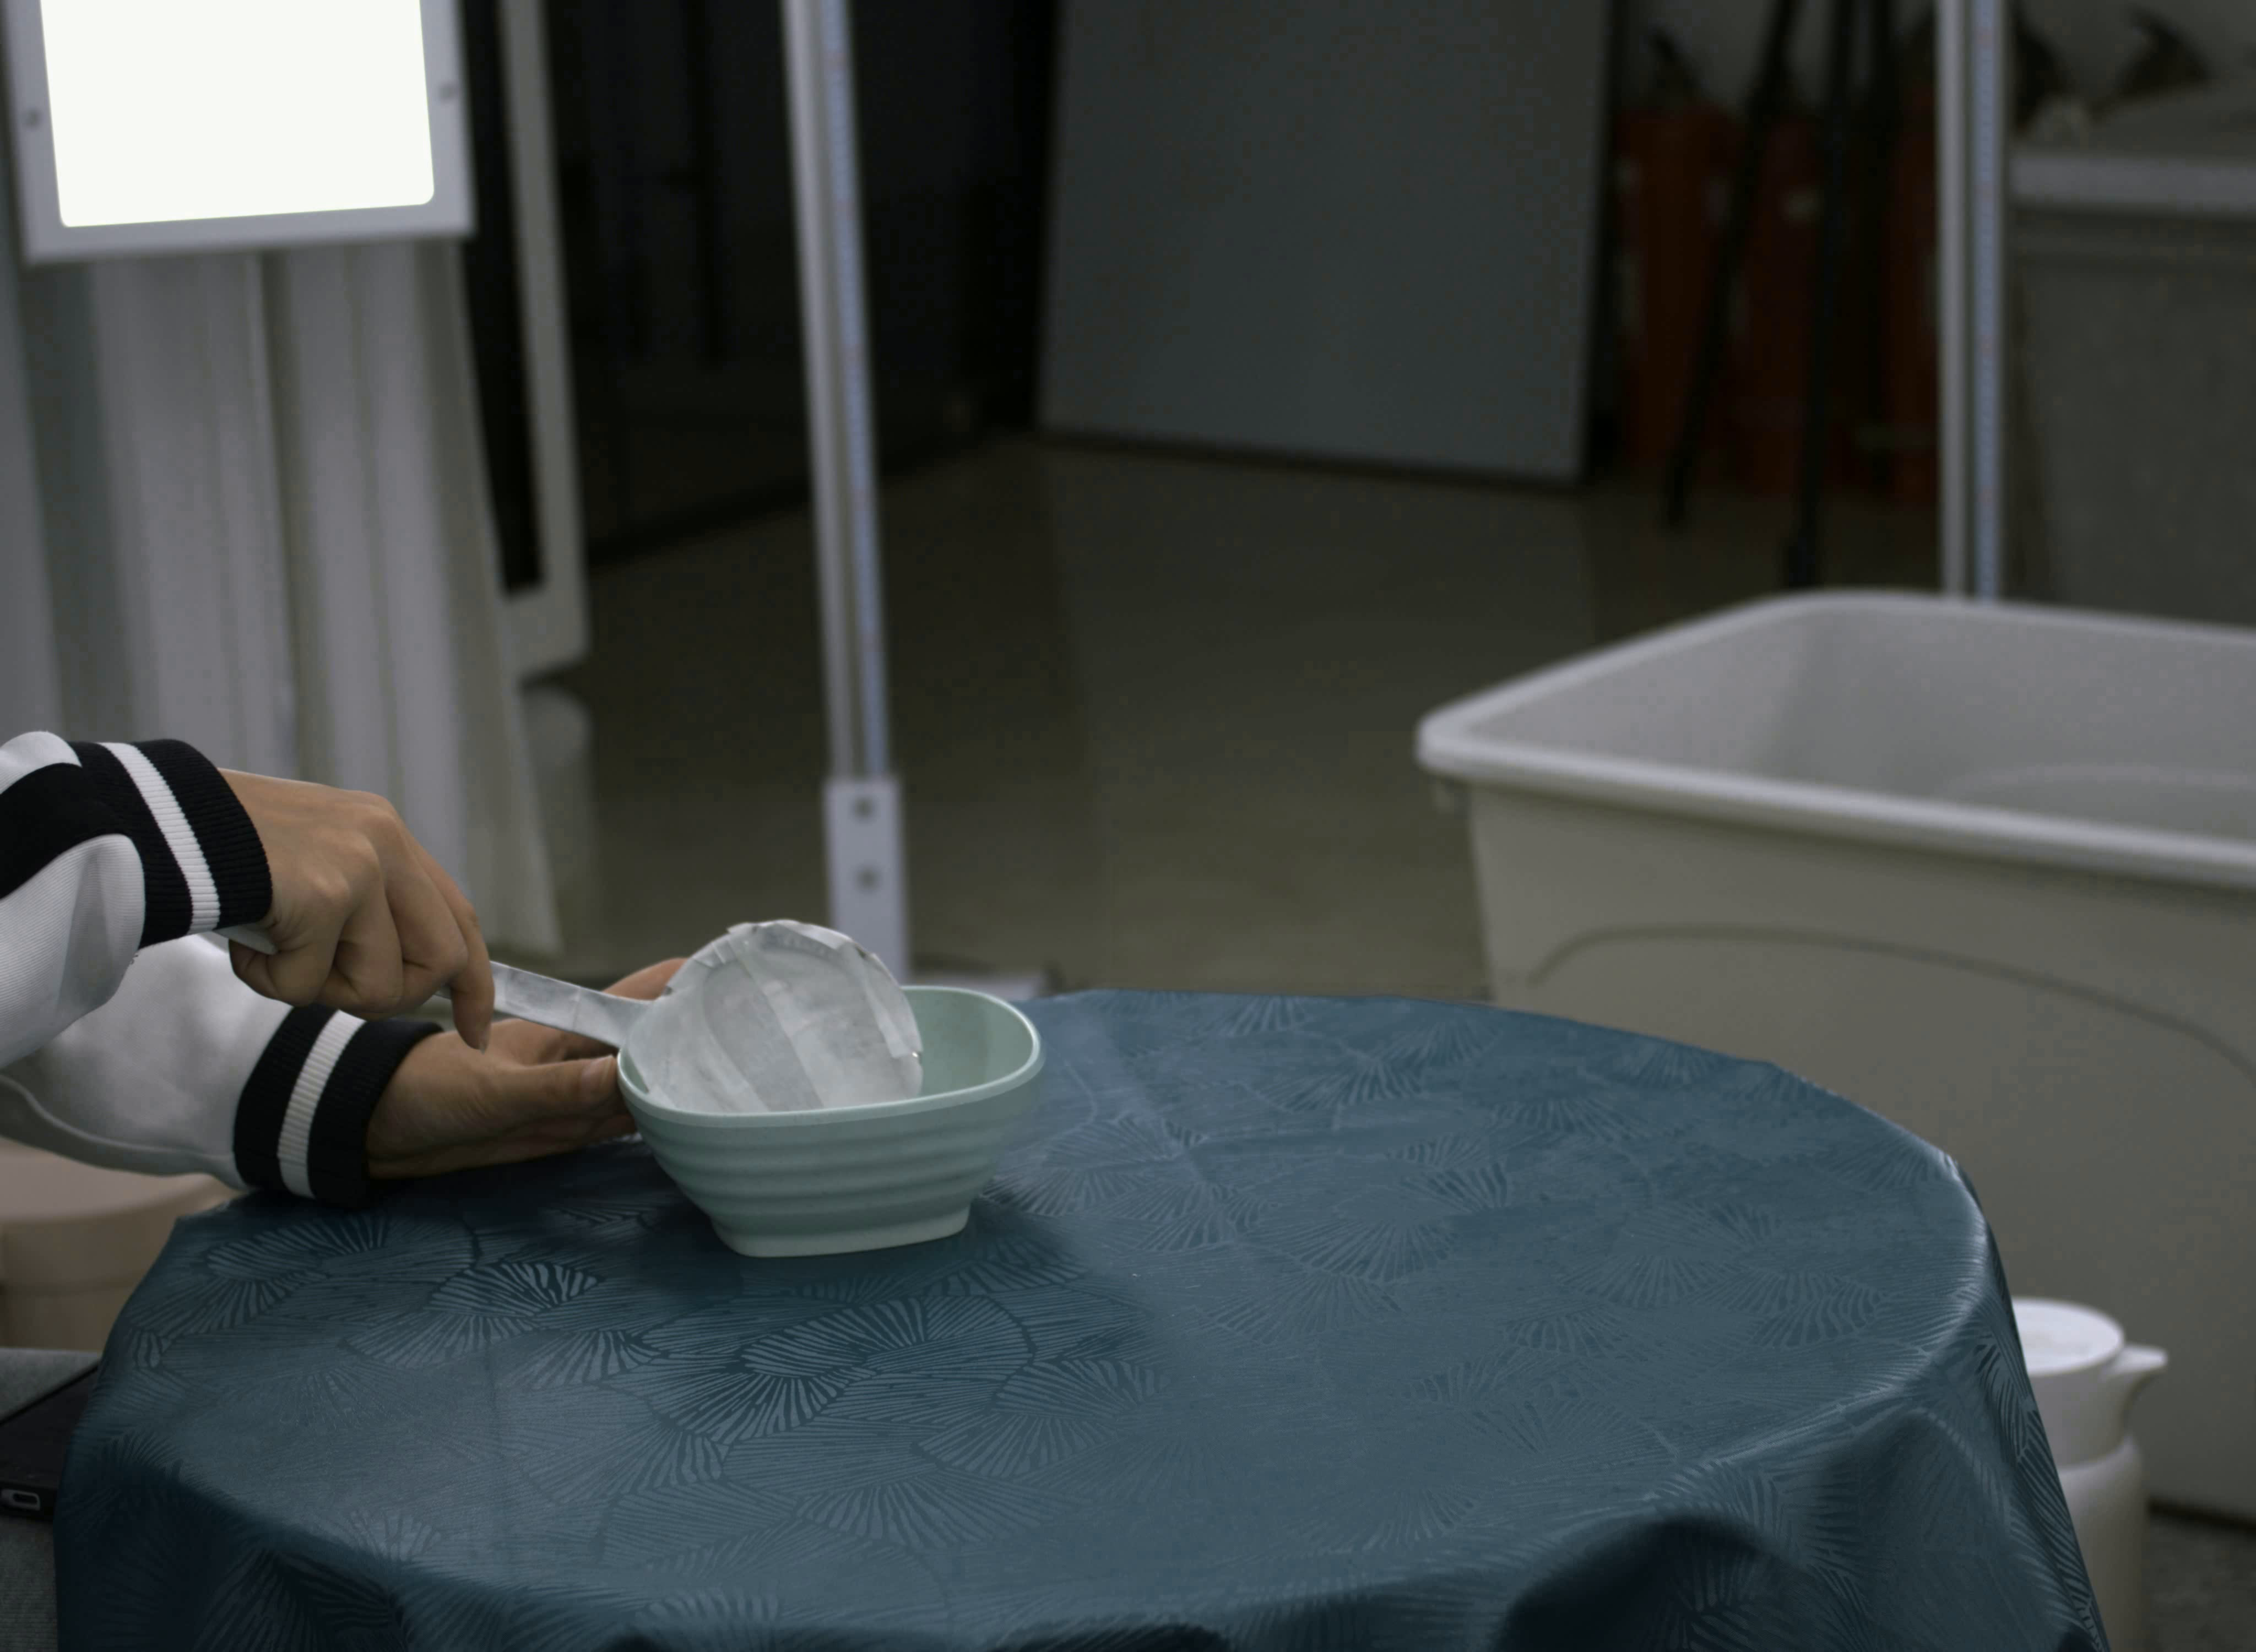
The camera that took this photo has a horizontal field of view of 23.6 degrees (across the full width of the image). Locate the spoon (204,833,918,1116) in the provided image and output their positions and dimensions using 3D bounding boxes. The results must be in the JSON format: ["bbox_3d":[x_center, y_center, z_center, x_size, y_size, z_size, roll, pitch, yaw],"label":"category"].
[{"bbox_3d":[-0.170,0.044,1.689,0.060,0.102,0.272,1,-17,38],"label":"spoon"}]

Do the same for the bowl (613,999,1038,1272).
[{"bbox_3d":[-0.097,0.104,1.761,0.149,0.059,0.152,-4,13,0],"label":"bowl"}]
